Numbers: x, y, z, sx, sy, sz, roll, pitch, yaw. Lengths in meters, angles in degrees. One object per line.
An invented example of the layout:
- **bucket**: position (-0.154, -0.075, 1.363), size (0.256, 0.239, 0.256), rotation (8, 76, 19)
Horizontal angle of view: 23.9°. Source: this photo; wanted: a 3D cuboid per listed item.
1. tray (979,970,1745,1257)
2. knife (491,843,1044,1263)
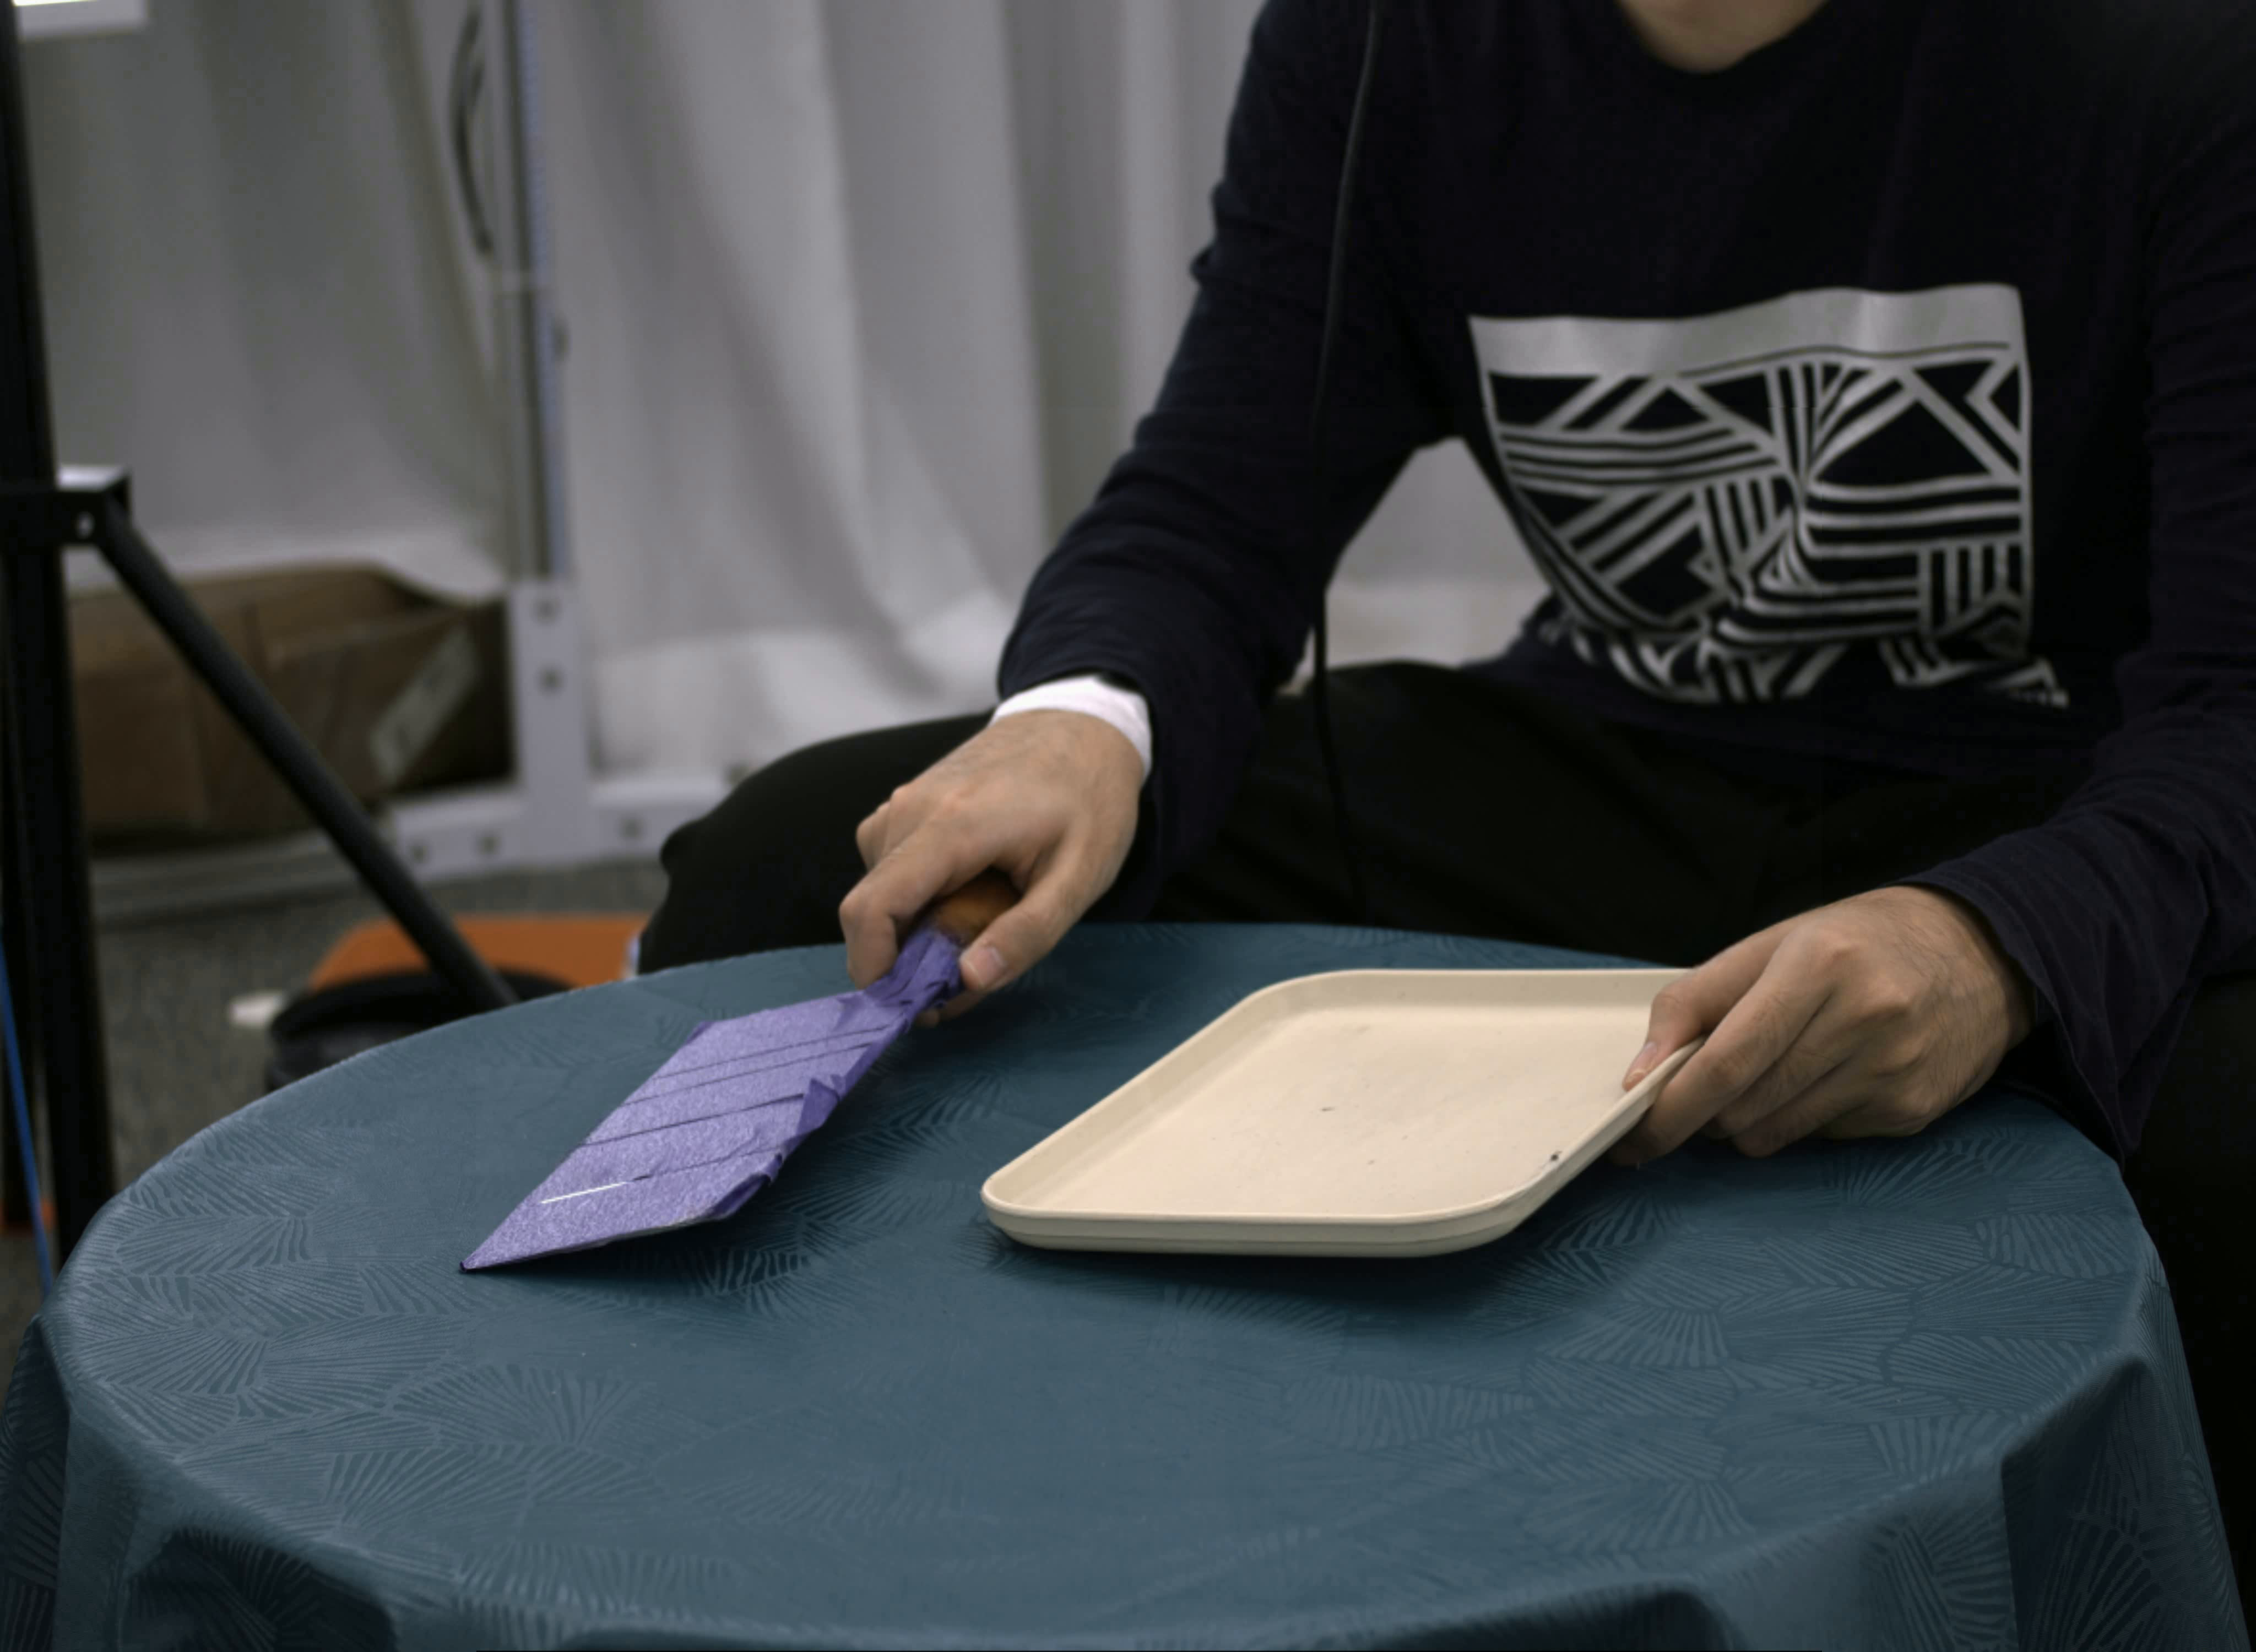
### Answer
- **tray**: position (0.074, 0.085, 1.572), size (0.174, 0.017, 0.236), rotation (-2, 14, 28)
- **knife**: position (-0.109, 0.067, 1.644), size (0.105, 0.032, 0.312), rotation (-11, 12, 19)
